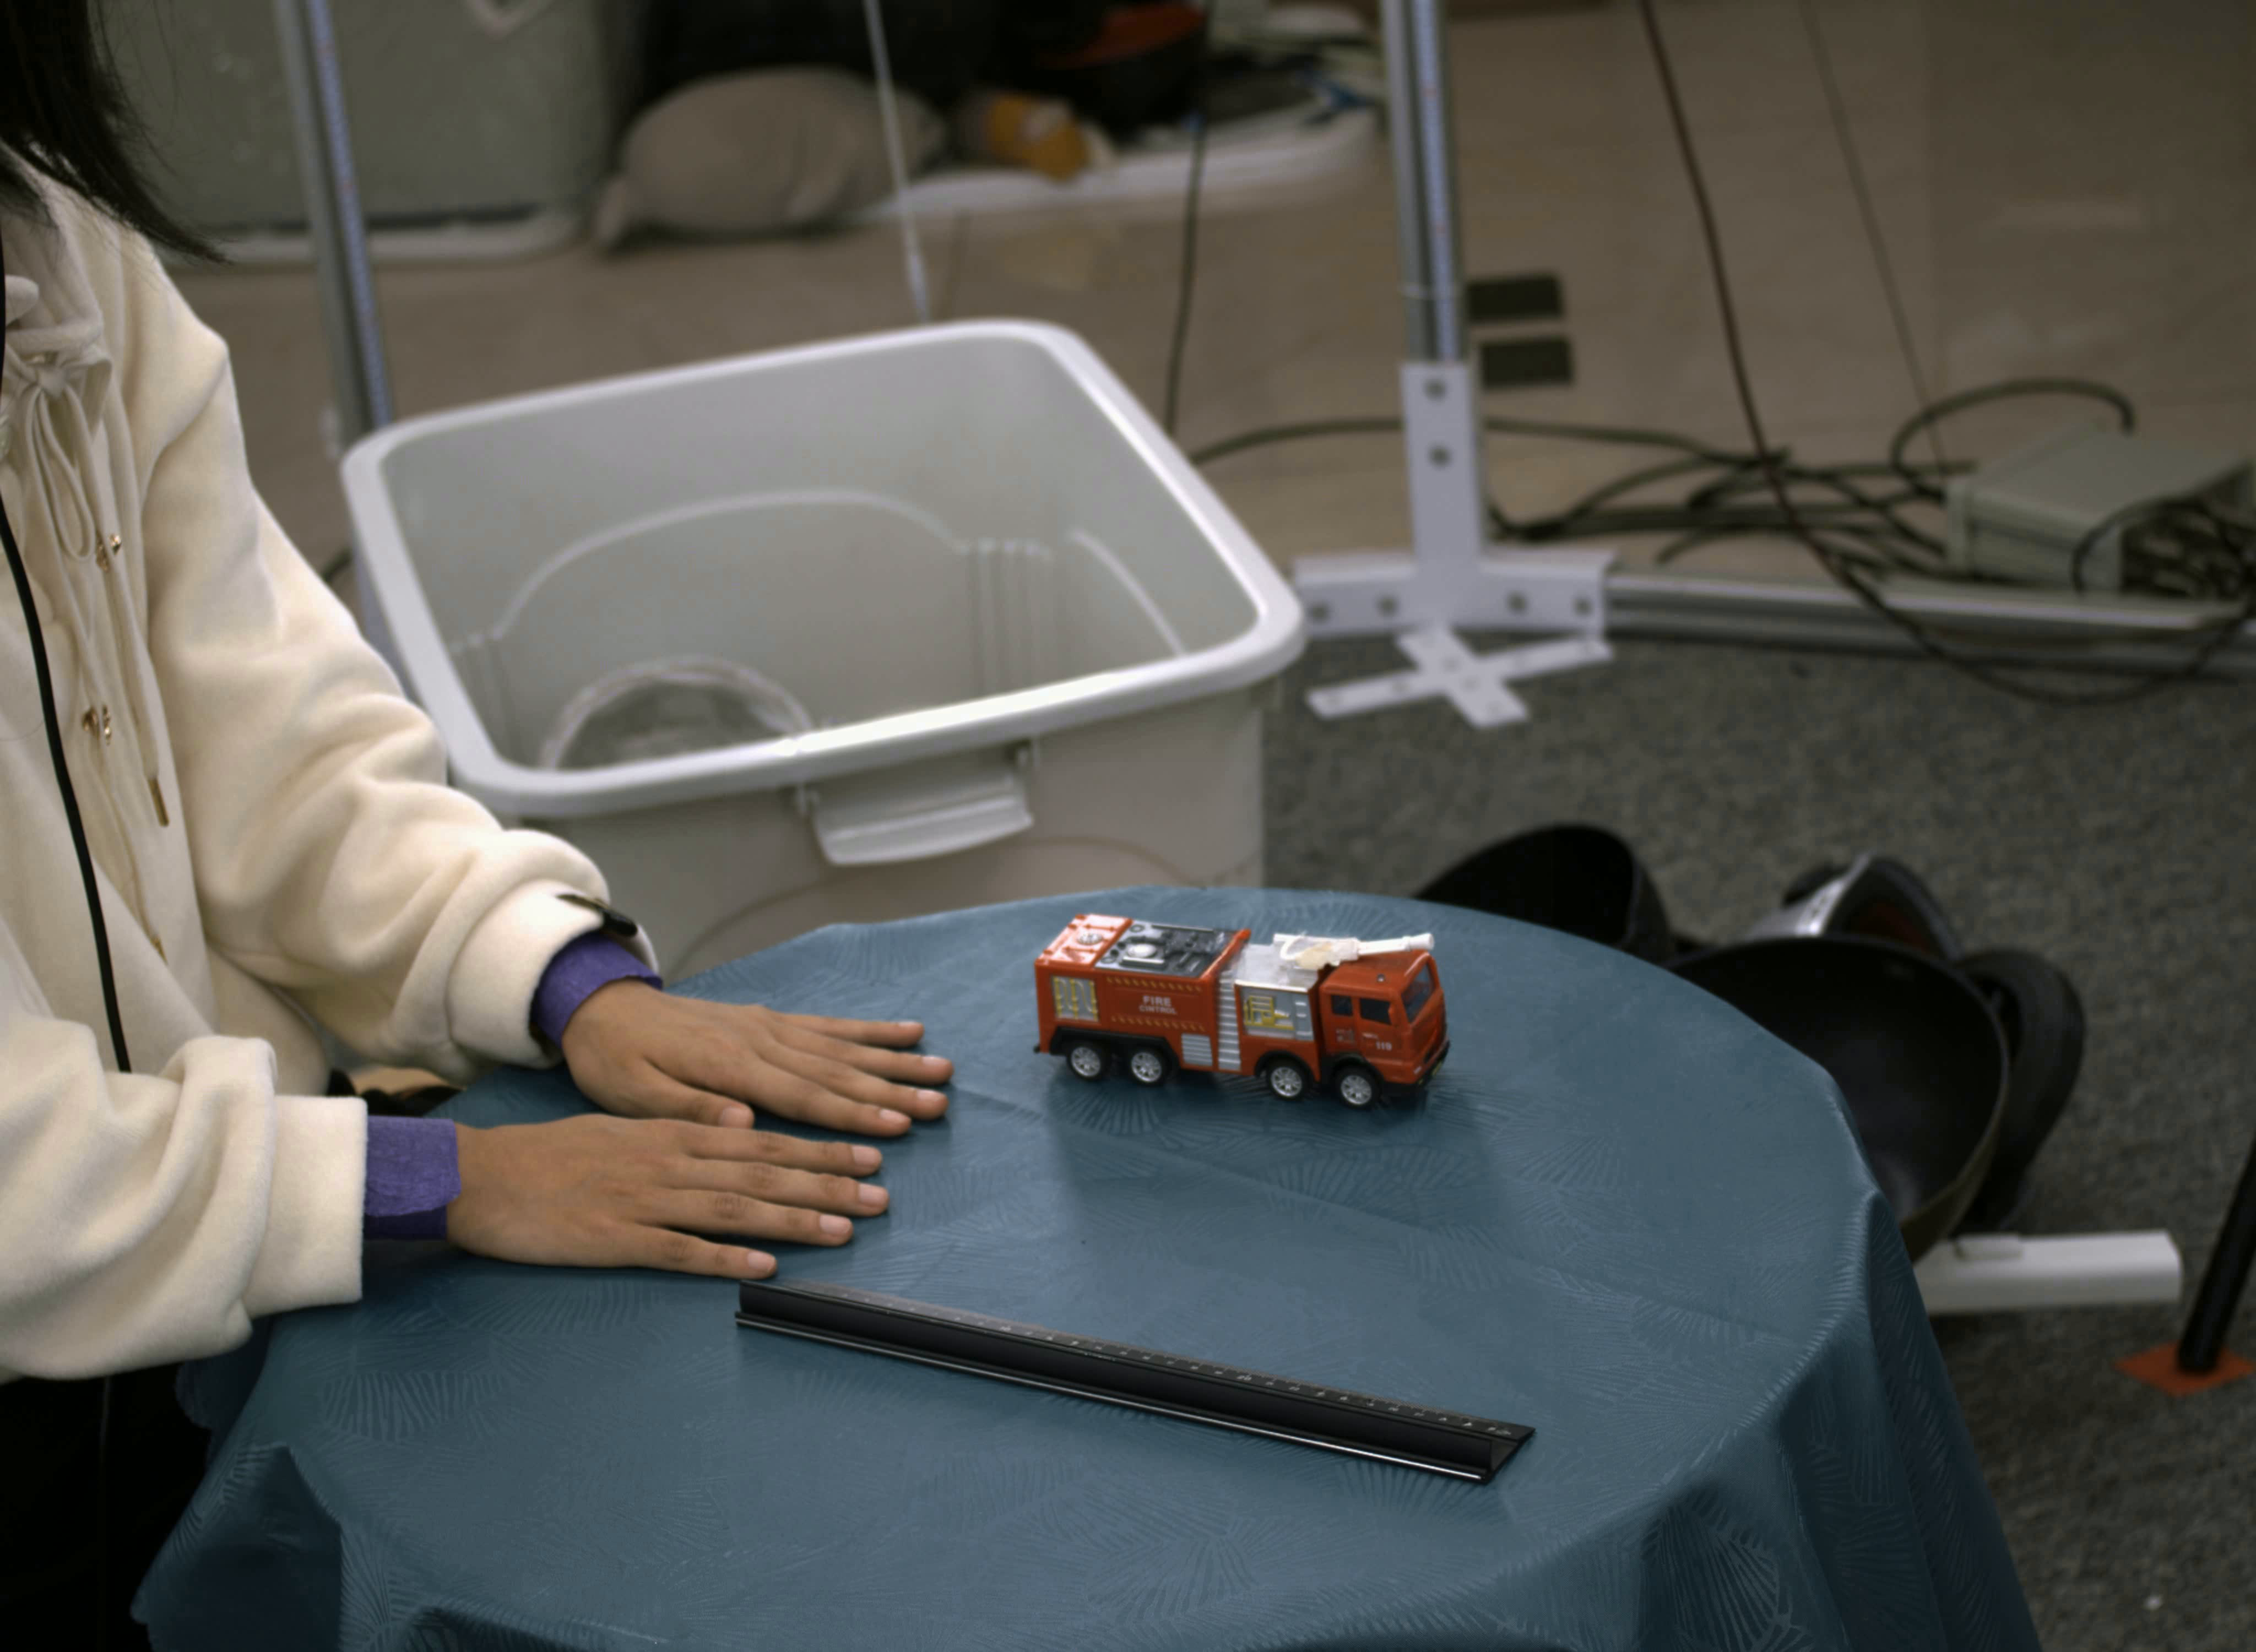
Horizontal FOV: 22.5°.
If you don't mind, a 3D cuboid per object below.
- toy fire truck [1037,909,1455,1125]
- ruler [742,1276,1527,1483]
[{"bbox_3d":[0.046,0.071,2.214,0.167,0.071,0.053,4,28,24],"label":"toy fire truck"},{"bbox_3d":[-0.002,0.190,2.021,0.311,0.017,0.039,9,26,31],"label":"ruler"}]
